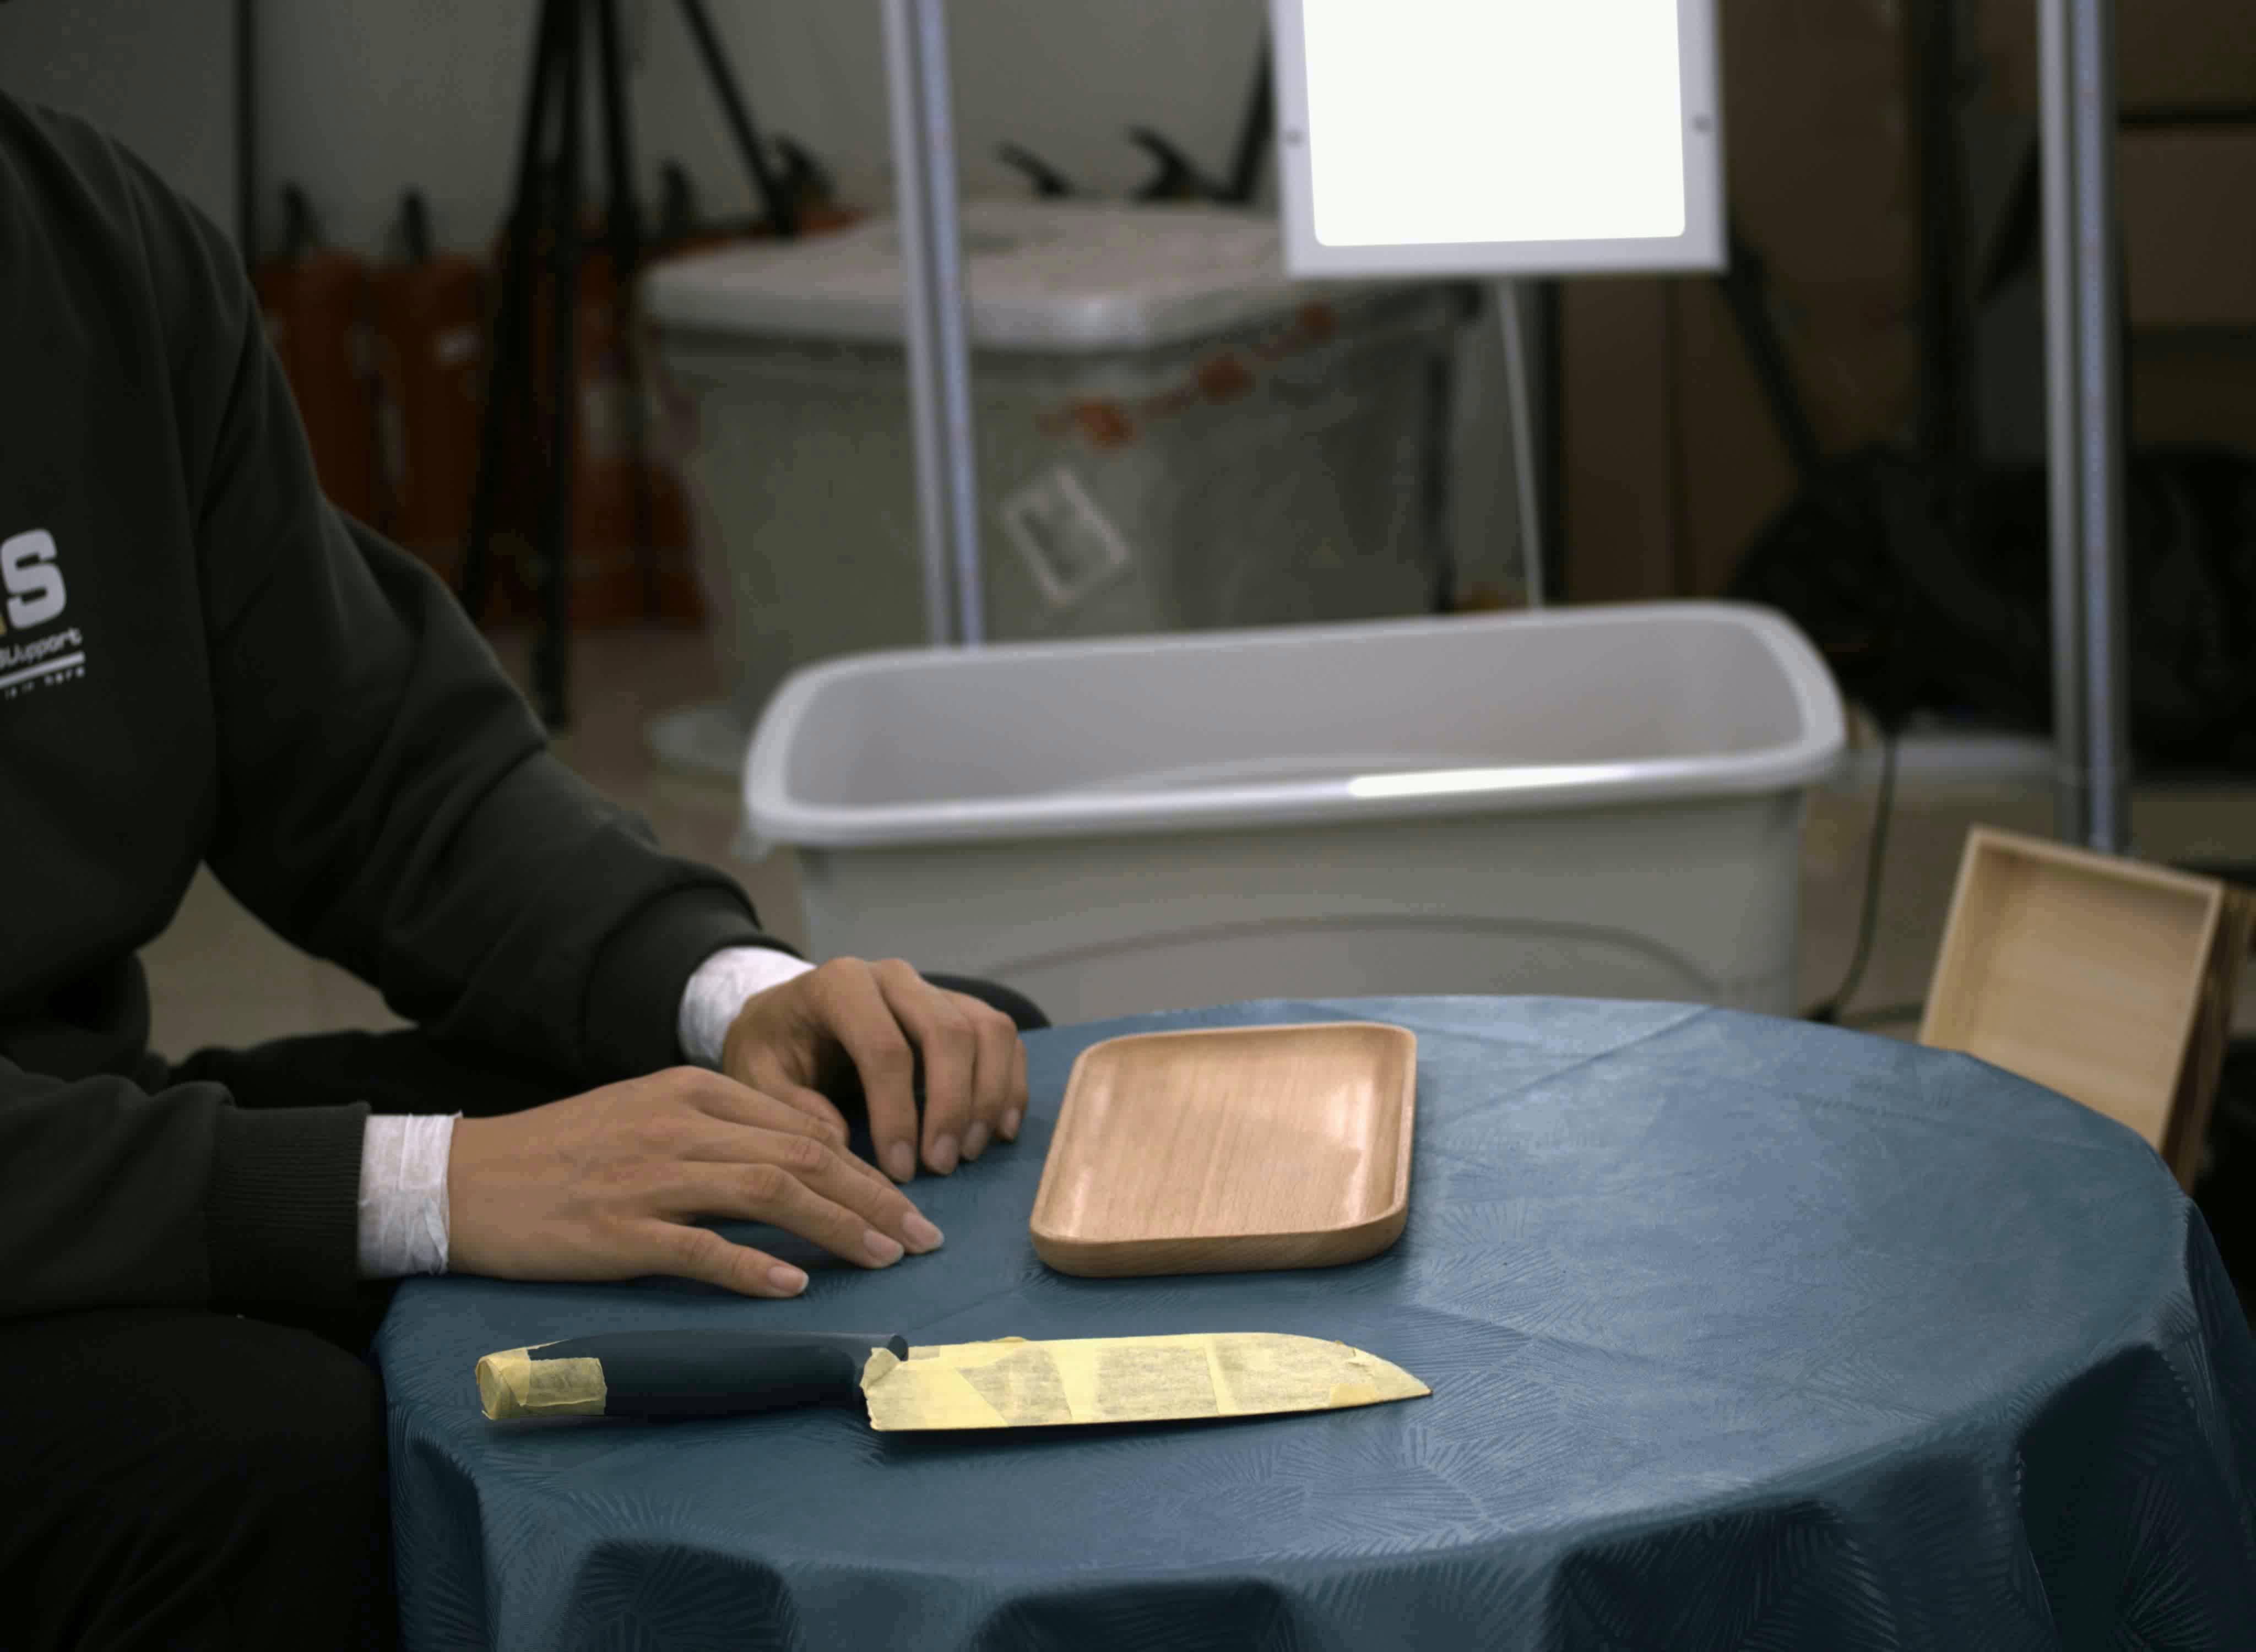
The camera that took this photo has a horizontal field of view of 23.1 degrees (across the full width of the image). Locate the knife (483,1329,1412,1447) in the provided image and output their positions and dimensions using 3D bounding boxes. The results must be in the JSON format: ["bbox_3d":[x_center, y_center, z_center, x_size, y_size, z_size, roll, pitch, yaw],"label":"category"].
[{"bbox_3d":[-0.056,0.174,1.698,0.289,0.027,0.081,-4,12,2],"label":"knife"}]

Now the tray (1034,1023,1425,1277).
[{"bbox_3d":[0.039,0.111,1.919,0.131,0.023,0.249,-6,14,7],"label":"tray"}]
